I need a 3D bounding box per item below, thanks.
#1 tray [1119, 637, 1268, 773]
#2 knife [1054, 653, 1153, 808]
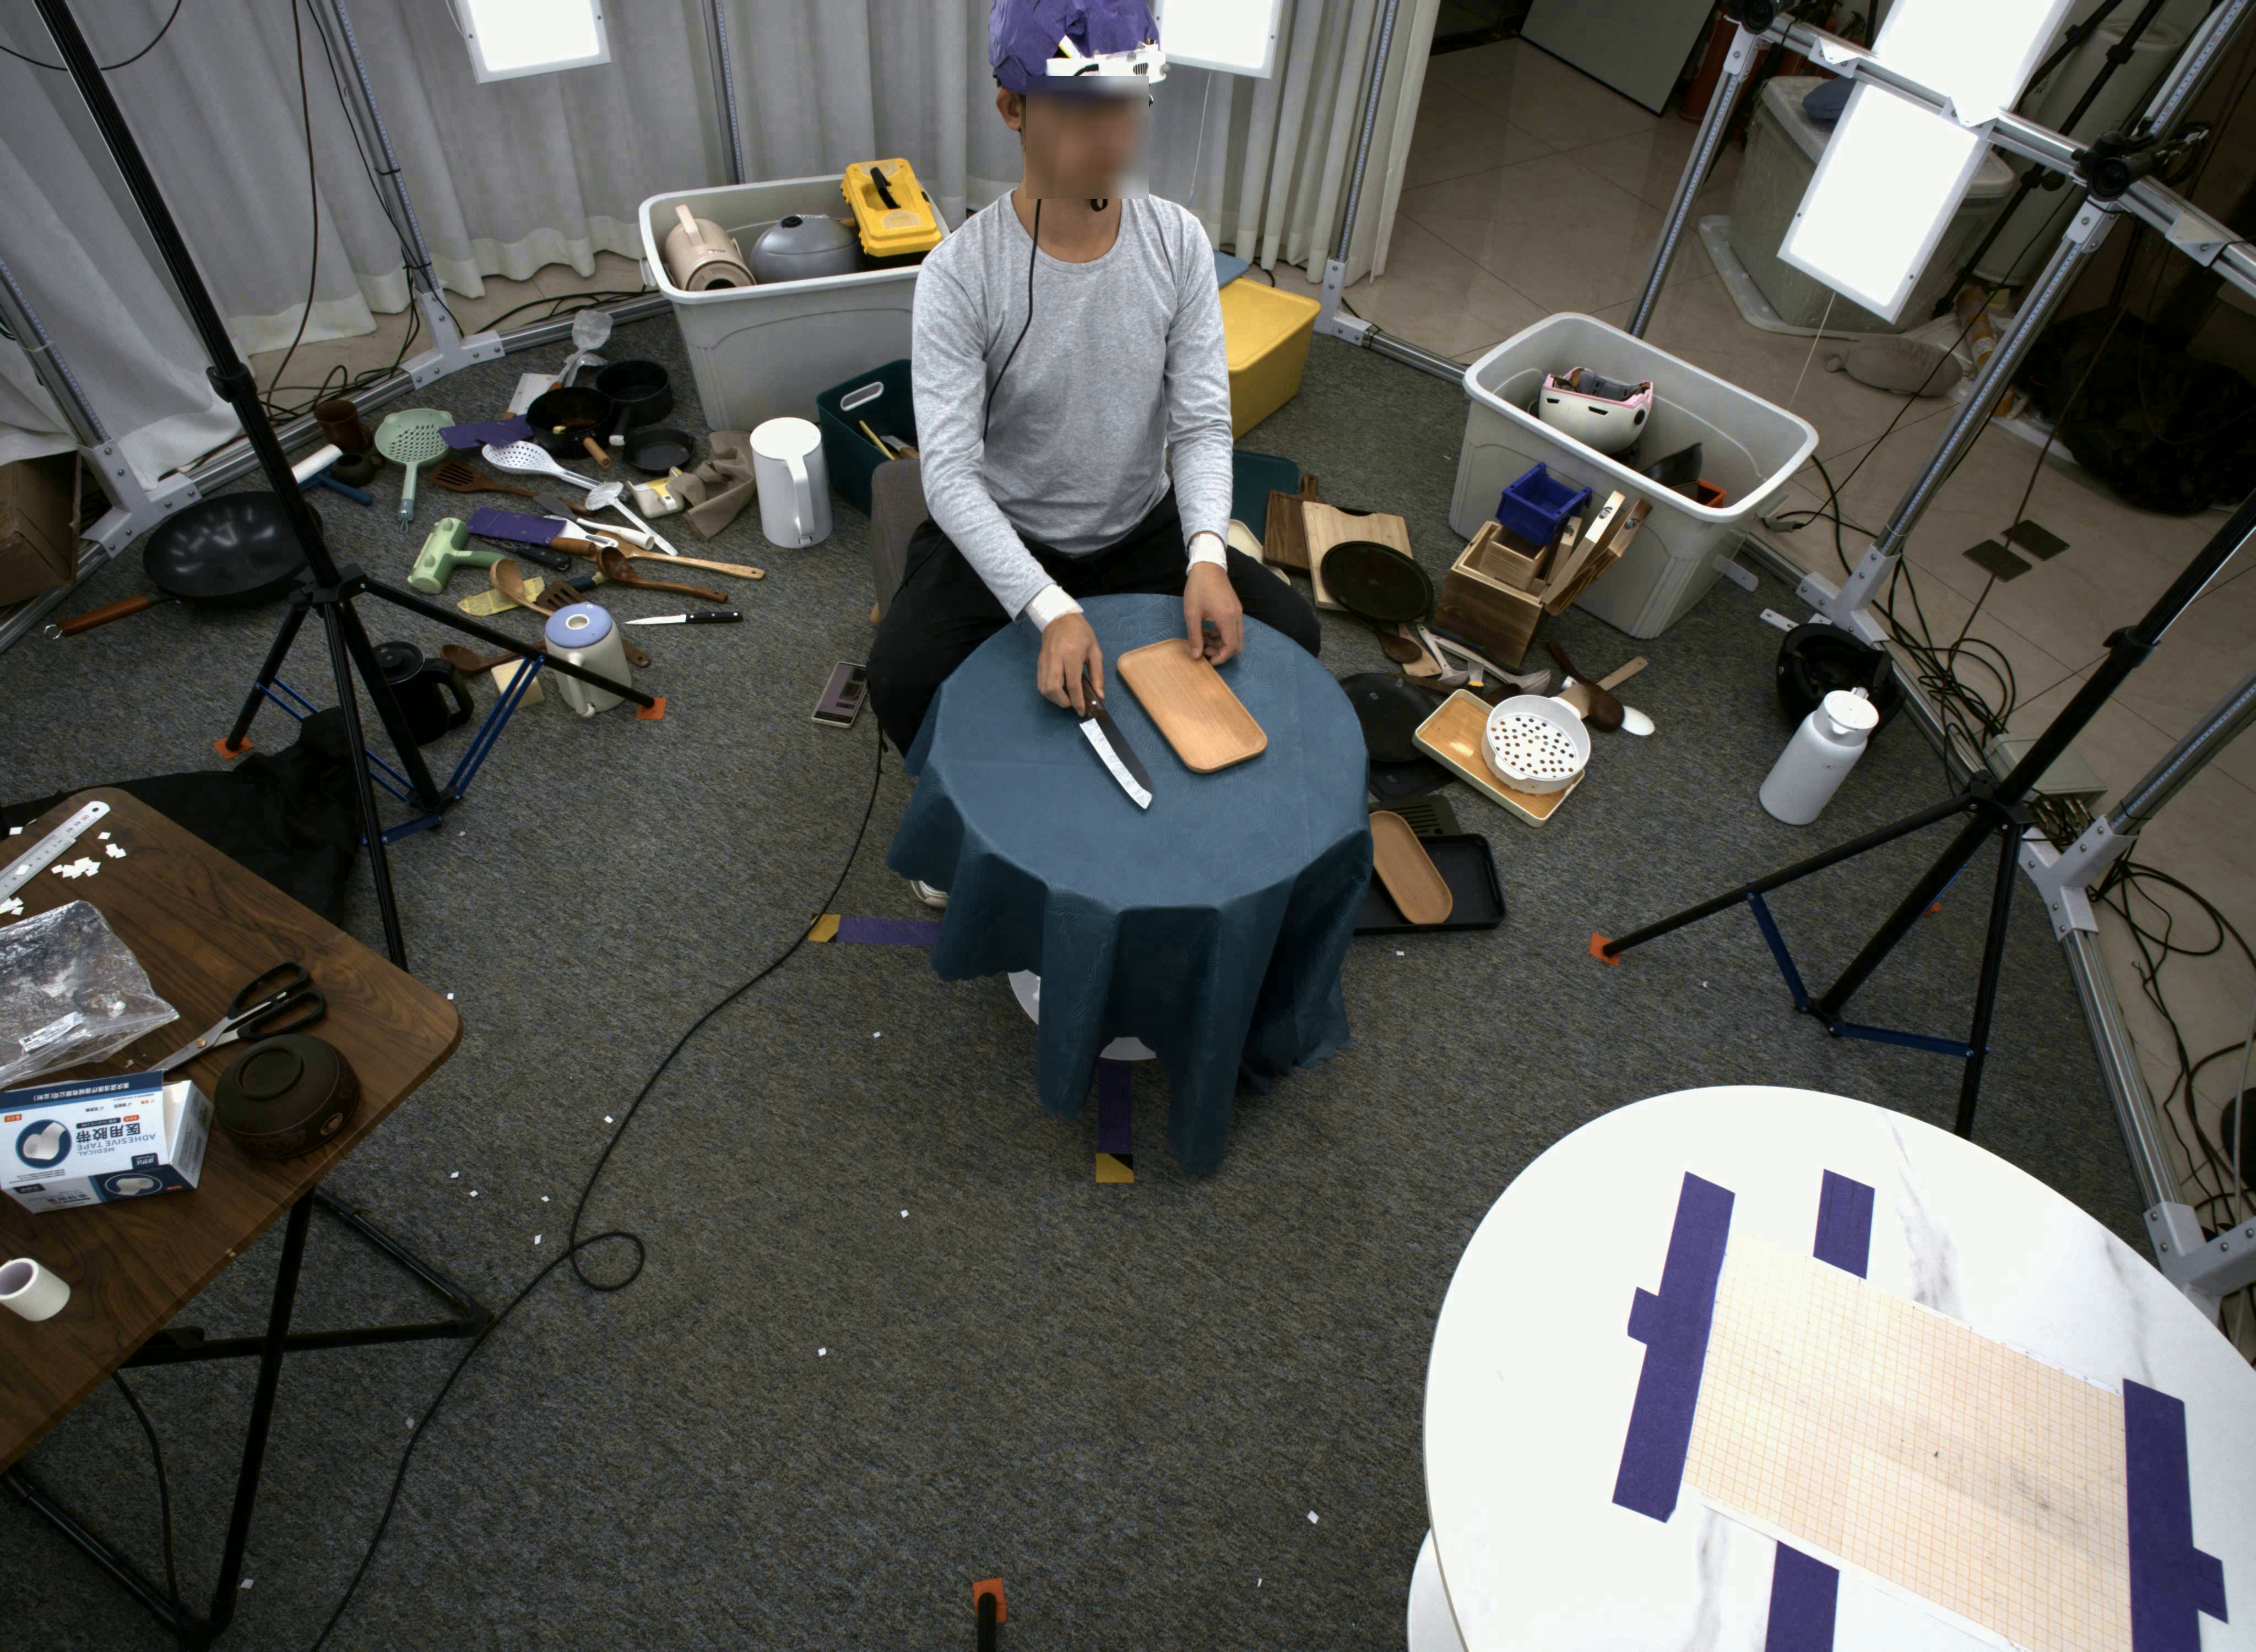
[{"bbox_3d":[0.089,-0.174,1.814,0.131,0.022,0.256,-17,52,-20],"label":"tray"},{"bbox_3d":[-0.035,-0.134,1.753,0.050,0.019,0.295,-23,57,-10],"label":"knife"}]
